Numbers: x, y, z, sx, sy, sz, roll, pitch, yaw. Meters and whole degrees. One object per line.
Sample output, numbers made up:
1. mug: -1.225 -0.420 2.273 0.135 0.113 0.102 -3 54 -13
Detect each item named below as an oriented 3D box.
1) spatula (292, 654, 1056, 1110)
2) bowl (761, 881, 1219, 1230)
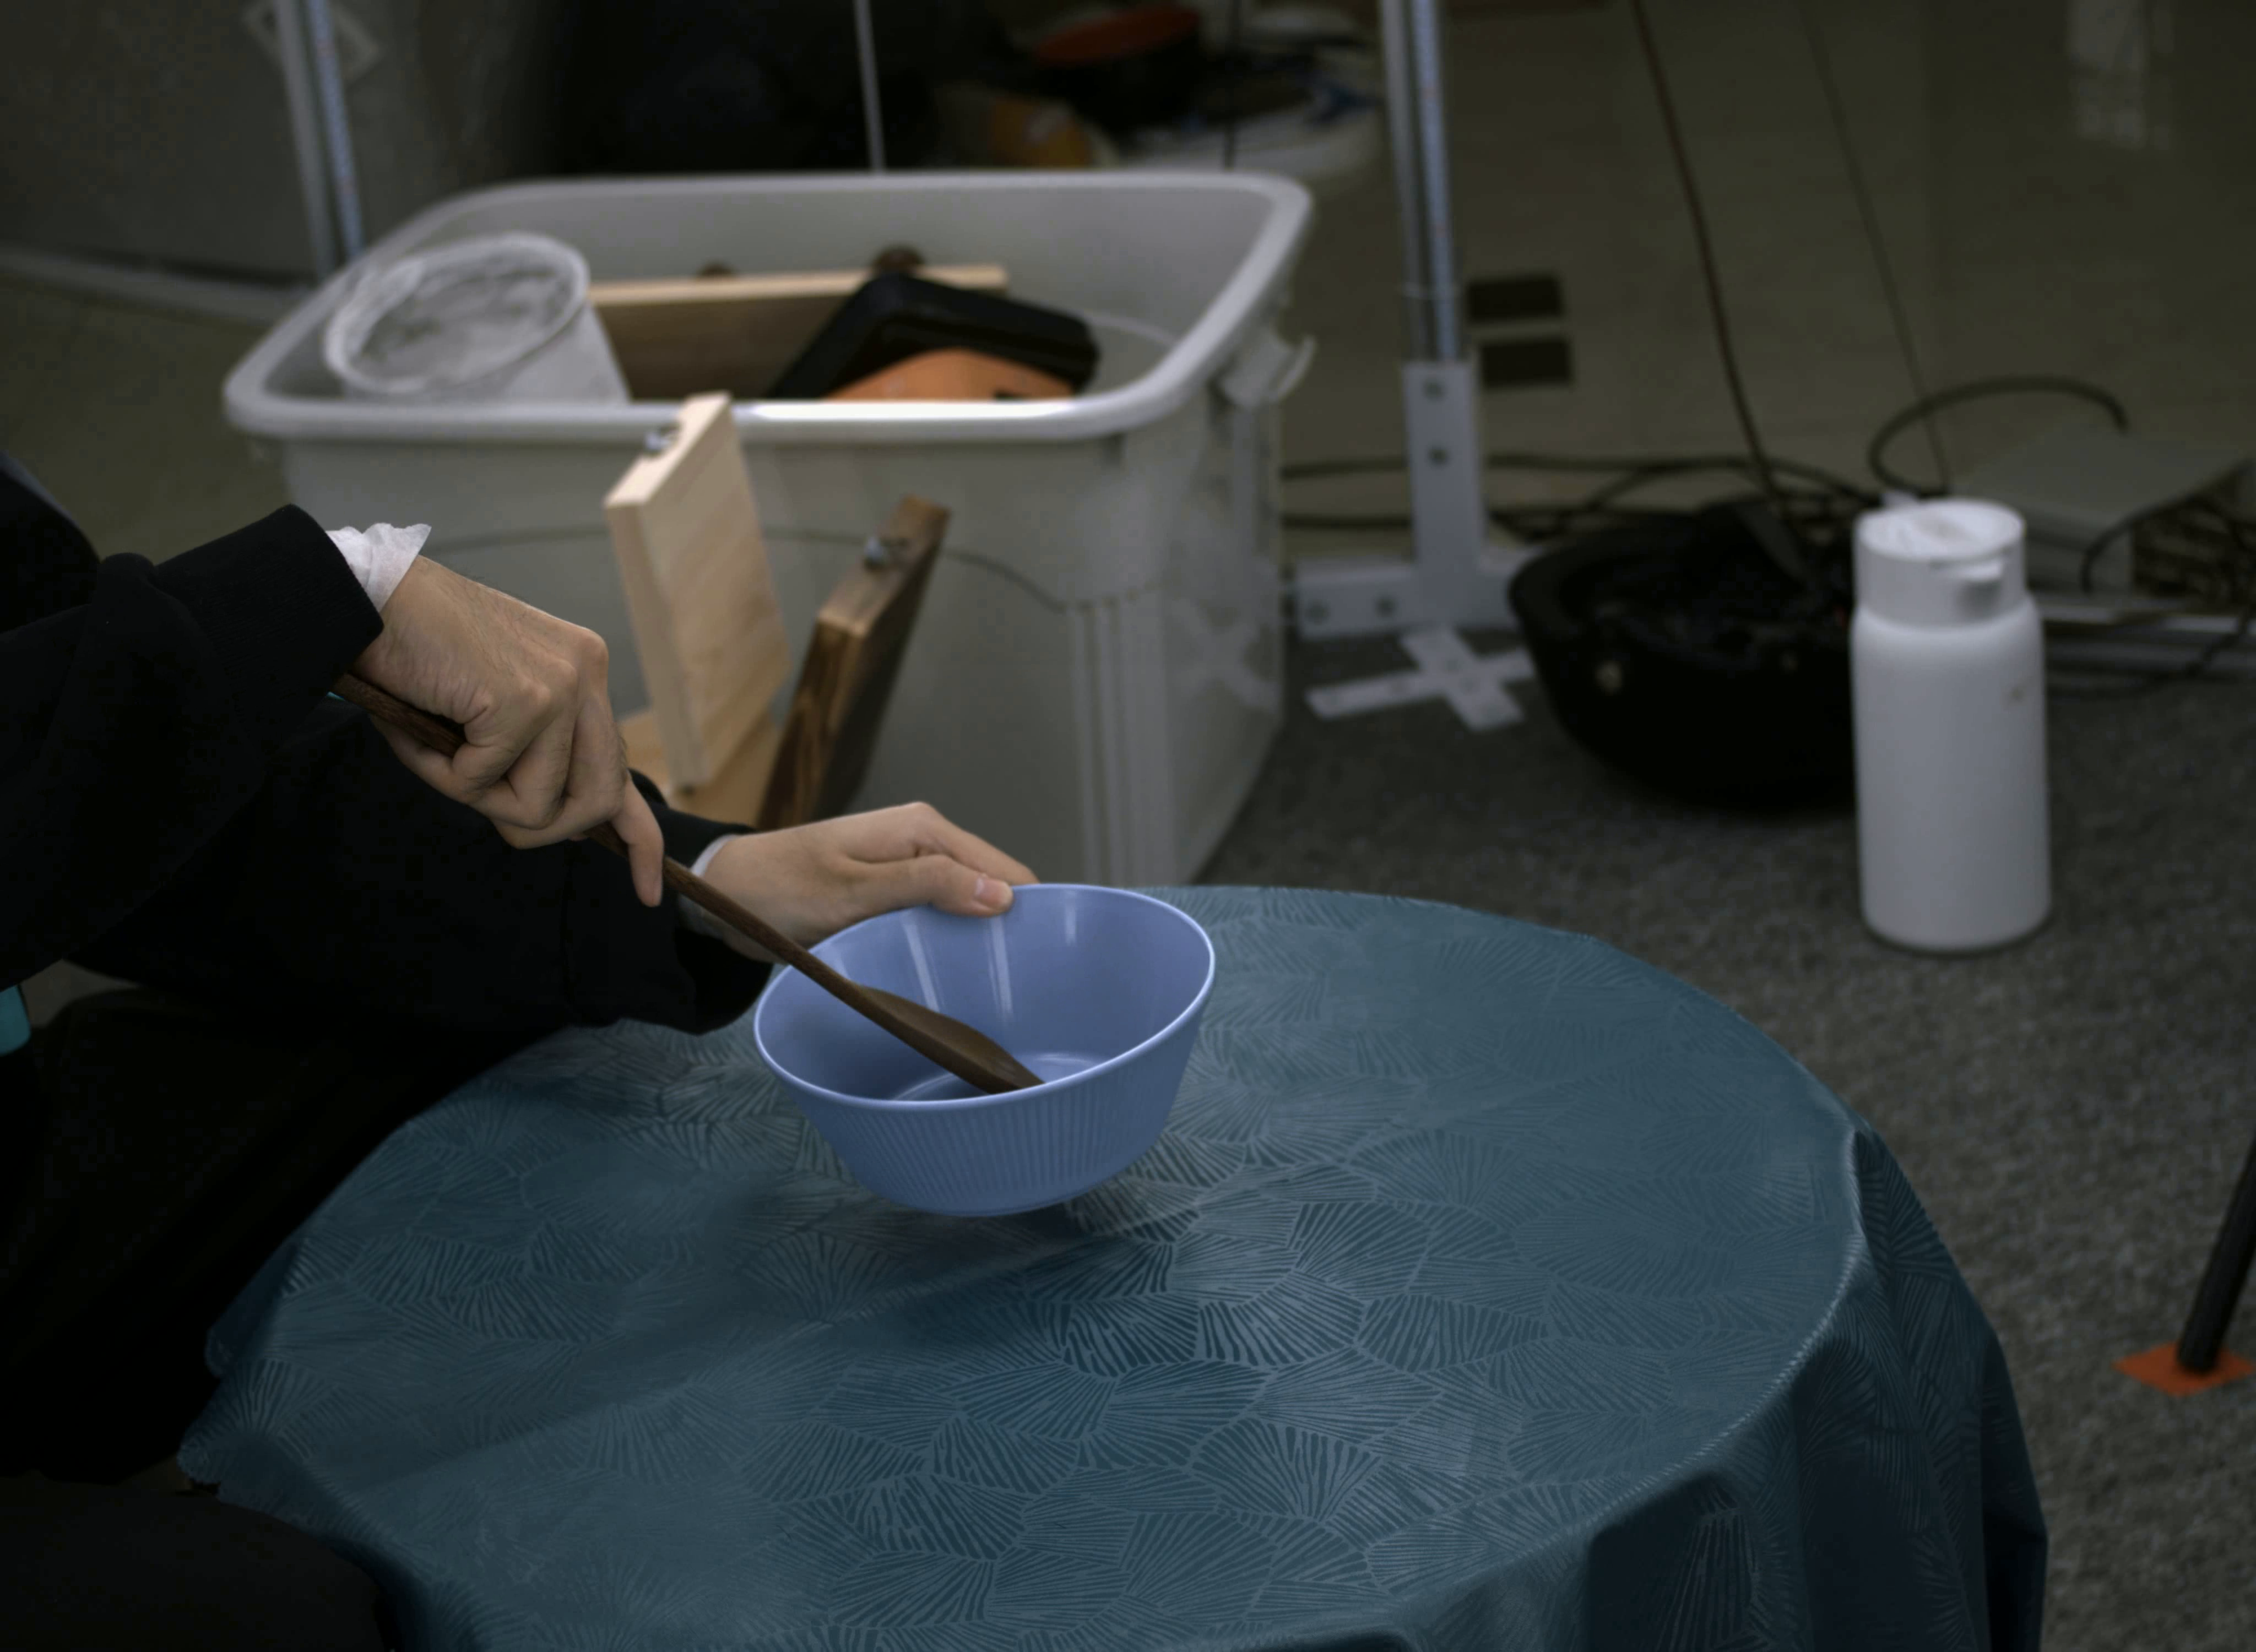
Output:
1. spatula: -0.152 0.025 2.035 0.016 0.390 0.095 -57 39 -1
2. bowl: -0.046 0.094 2.132 0.176 0.071 0.173 -9 30 5
